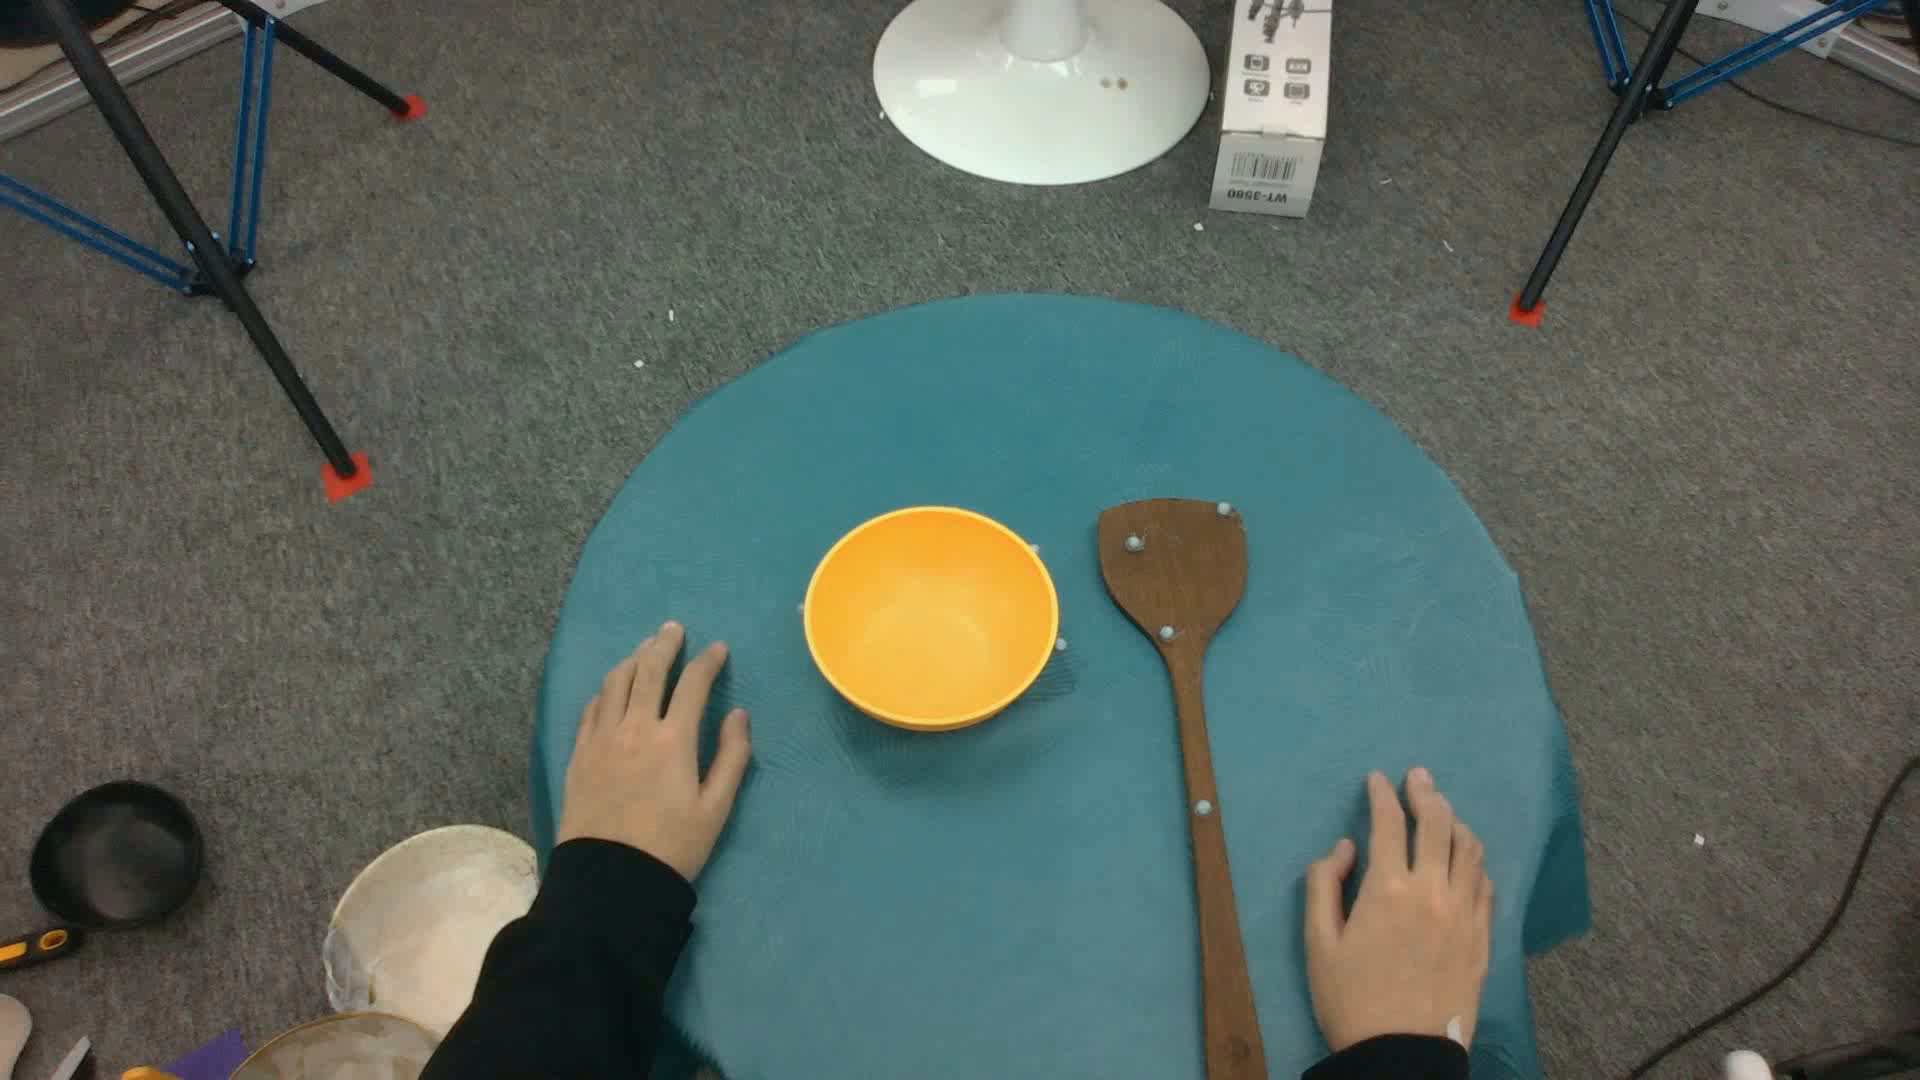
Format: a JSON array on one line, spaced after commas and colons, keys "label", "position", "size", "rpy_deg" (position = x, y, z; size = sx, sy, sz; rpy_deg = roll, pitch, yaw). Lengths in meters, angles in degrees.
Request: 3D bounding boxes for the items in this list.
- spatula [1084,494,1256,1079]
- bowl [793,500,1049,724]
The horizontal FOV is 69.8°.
[{"label": "spatula", "position": [0.129, 0.132, 0.778], "size": [0.096, 0.016, 0.387], "rpy_deg": [0, 56, -1]}, {"label": "bowl", "position": [-0.021, 0.051, 0.803], "size": [0.145, 0.060, 0.146], "rpy_deg": [-1, 56, 1]}]
